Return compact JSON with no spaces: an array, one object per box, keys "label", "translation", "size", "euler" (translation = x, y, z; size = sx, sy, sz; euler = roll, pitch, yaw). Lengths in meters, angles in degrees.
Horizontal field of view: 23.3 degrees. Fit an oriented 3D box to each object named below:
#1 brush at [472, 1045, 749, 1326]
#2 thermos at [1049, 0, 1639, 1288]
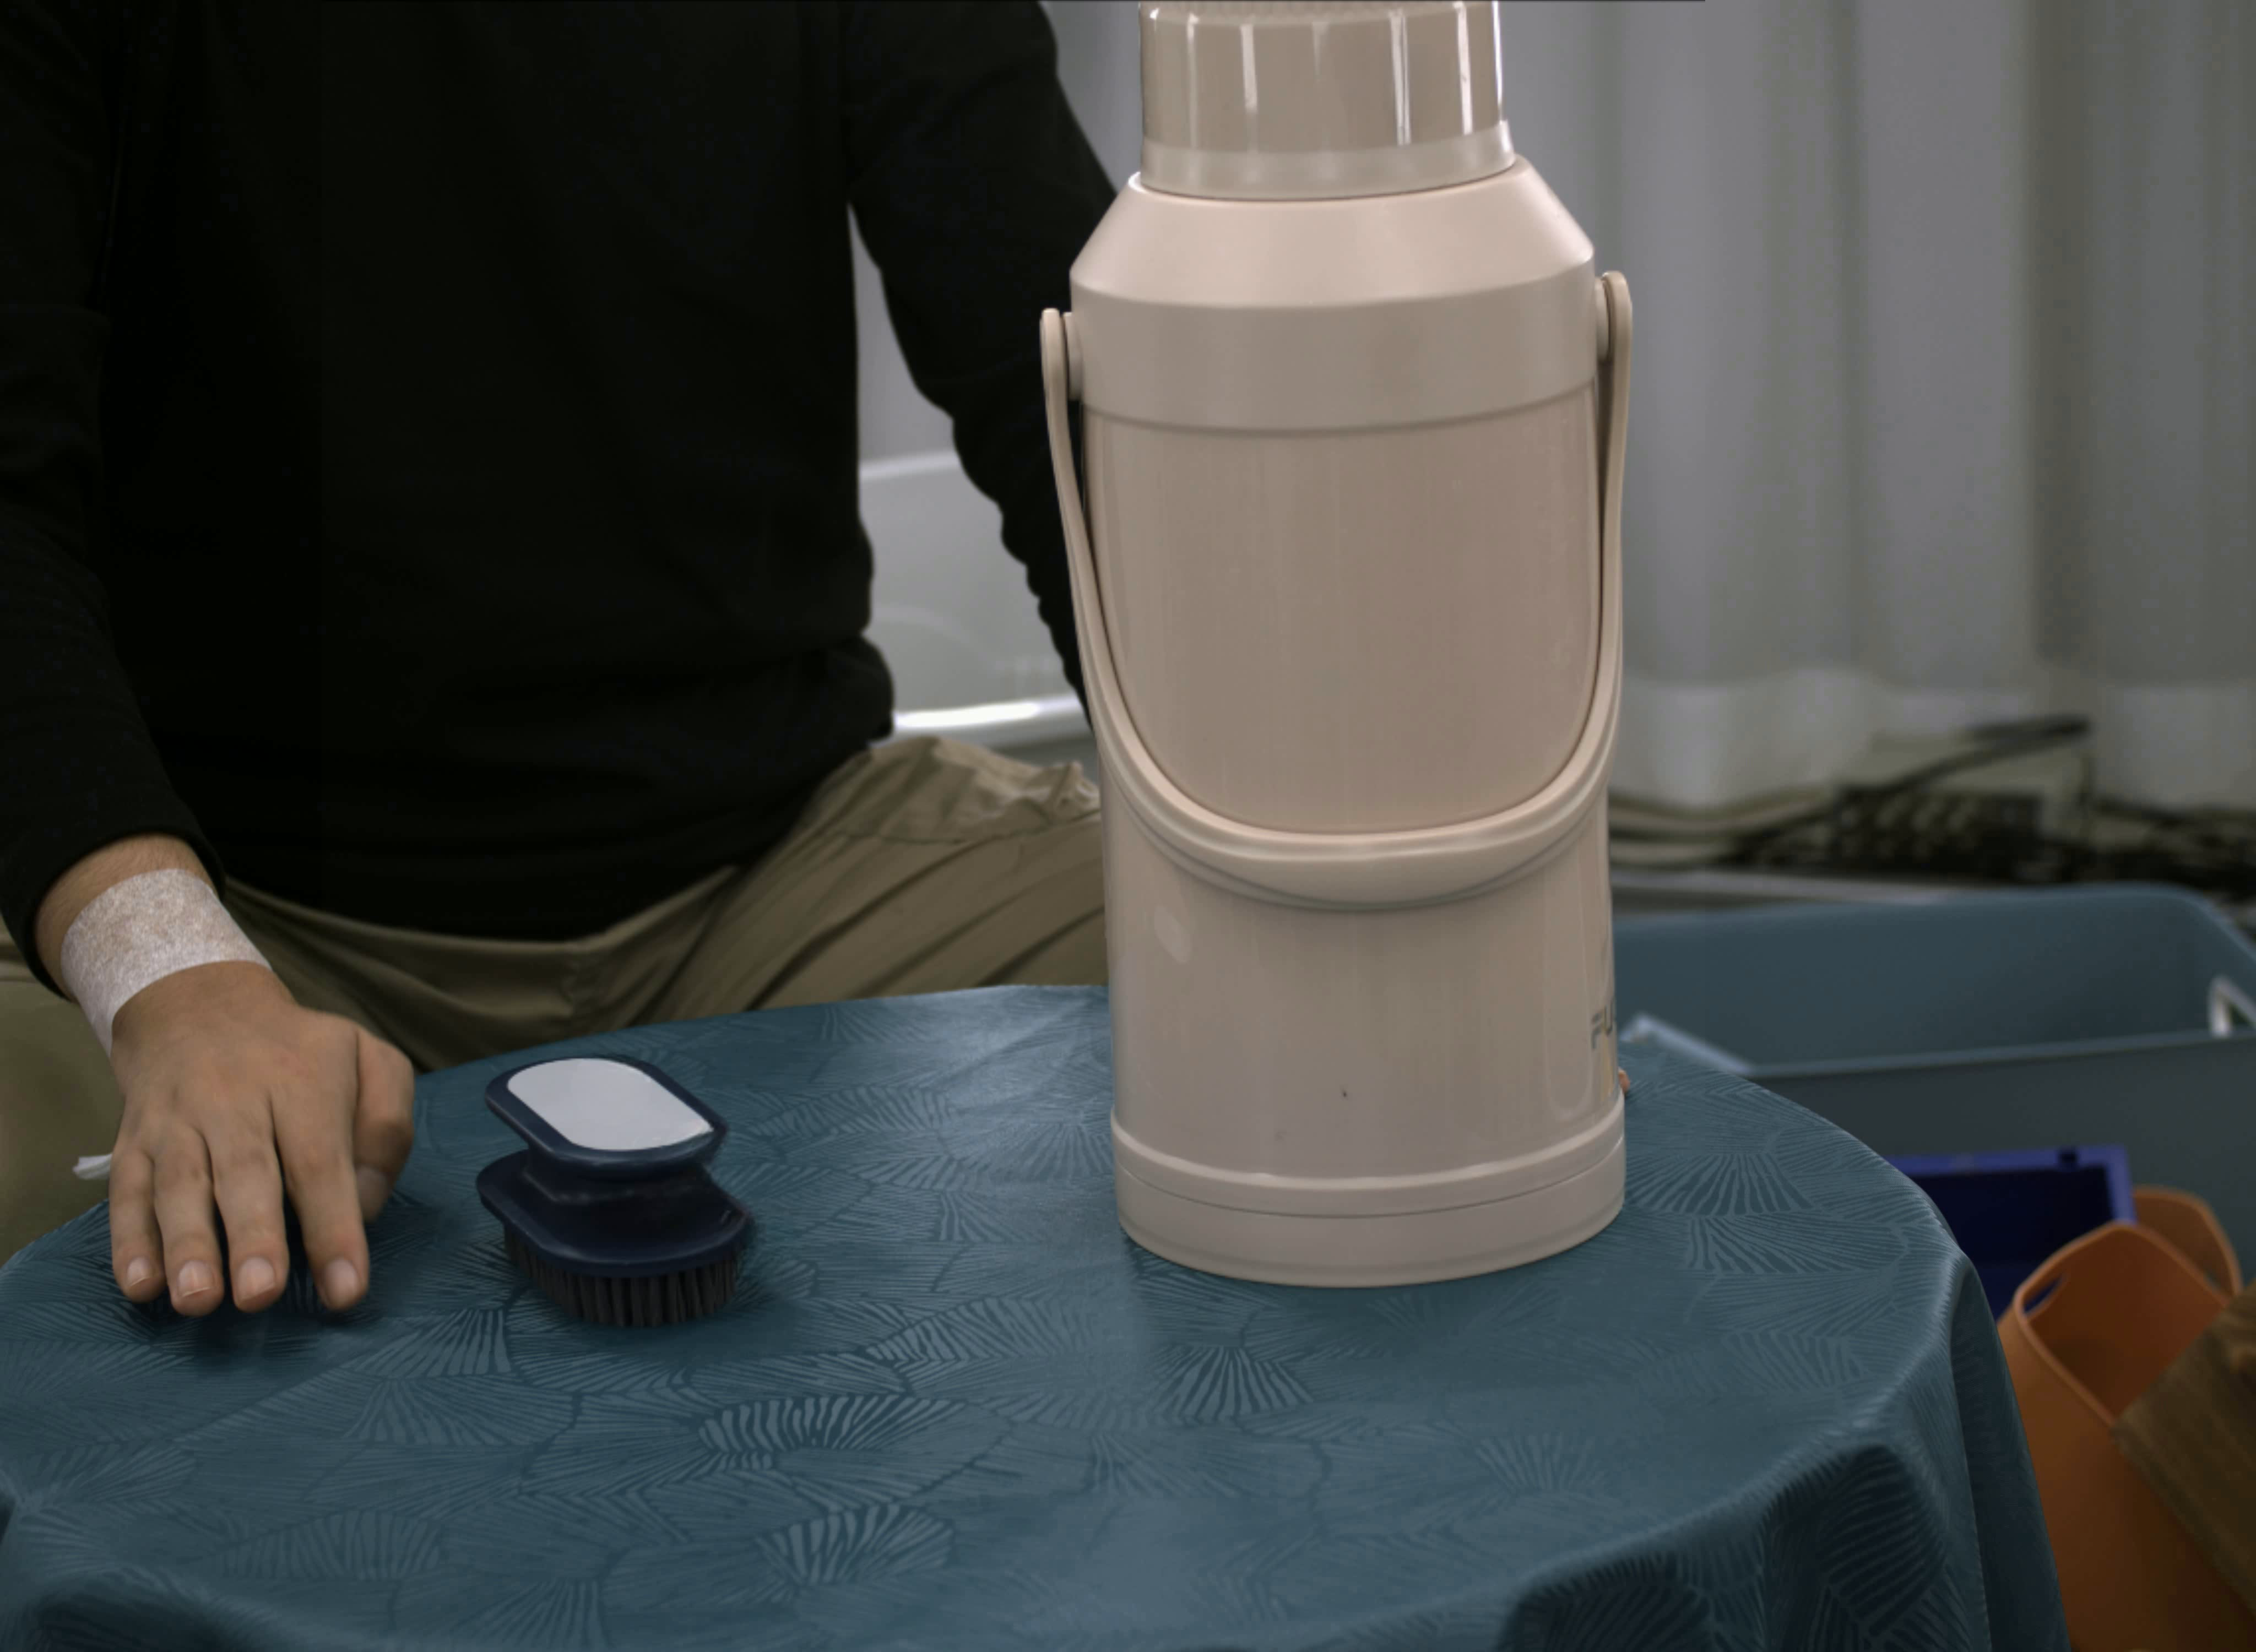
[{"label":"brush","translation":[-0.157,0.110,1.657],"size":[0.067,0.061,0.122],"euler":[-5,16,-21]},{"label":"thermos","translation":[0.068,-0.079,1.661],"size":[0.174,0.405,0.208],"euler":[-5,14,-4]}]
